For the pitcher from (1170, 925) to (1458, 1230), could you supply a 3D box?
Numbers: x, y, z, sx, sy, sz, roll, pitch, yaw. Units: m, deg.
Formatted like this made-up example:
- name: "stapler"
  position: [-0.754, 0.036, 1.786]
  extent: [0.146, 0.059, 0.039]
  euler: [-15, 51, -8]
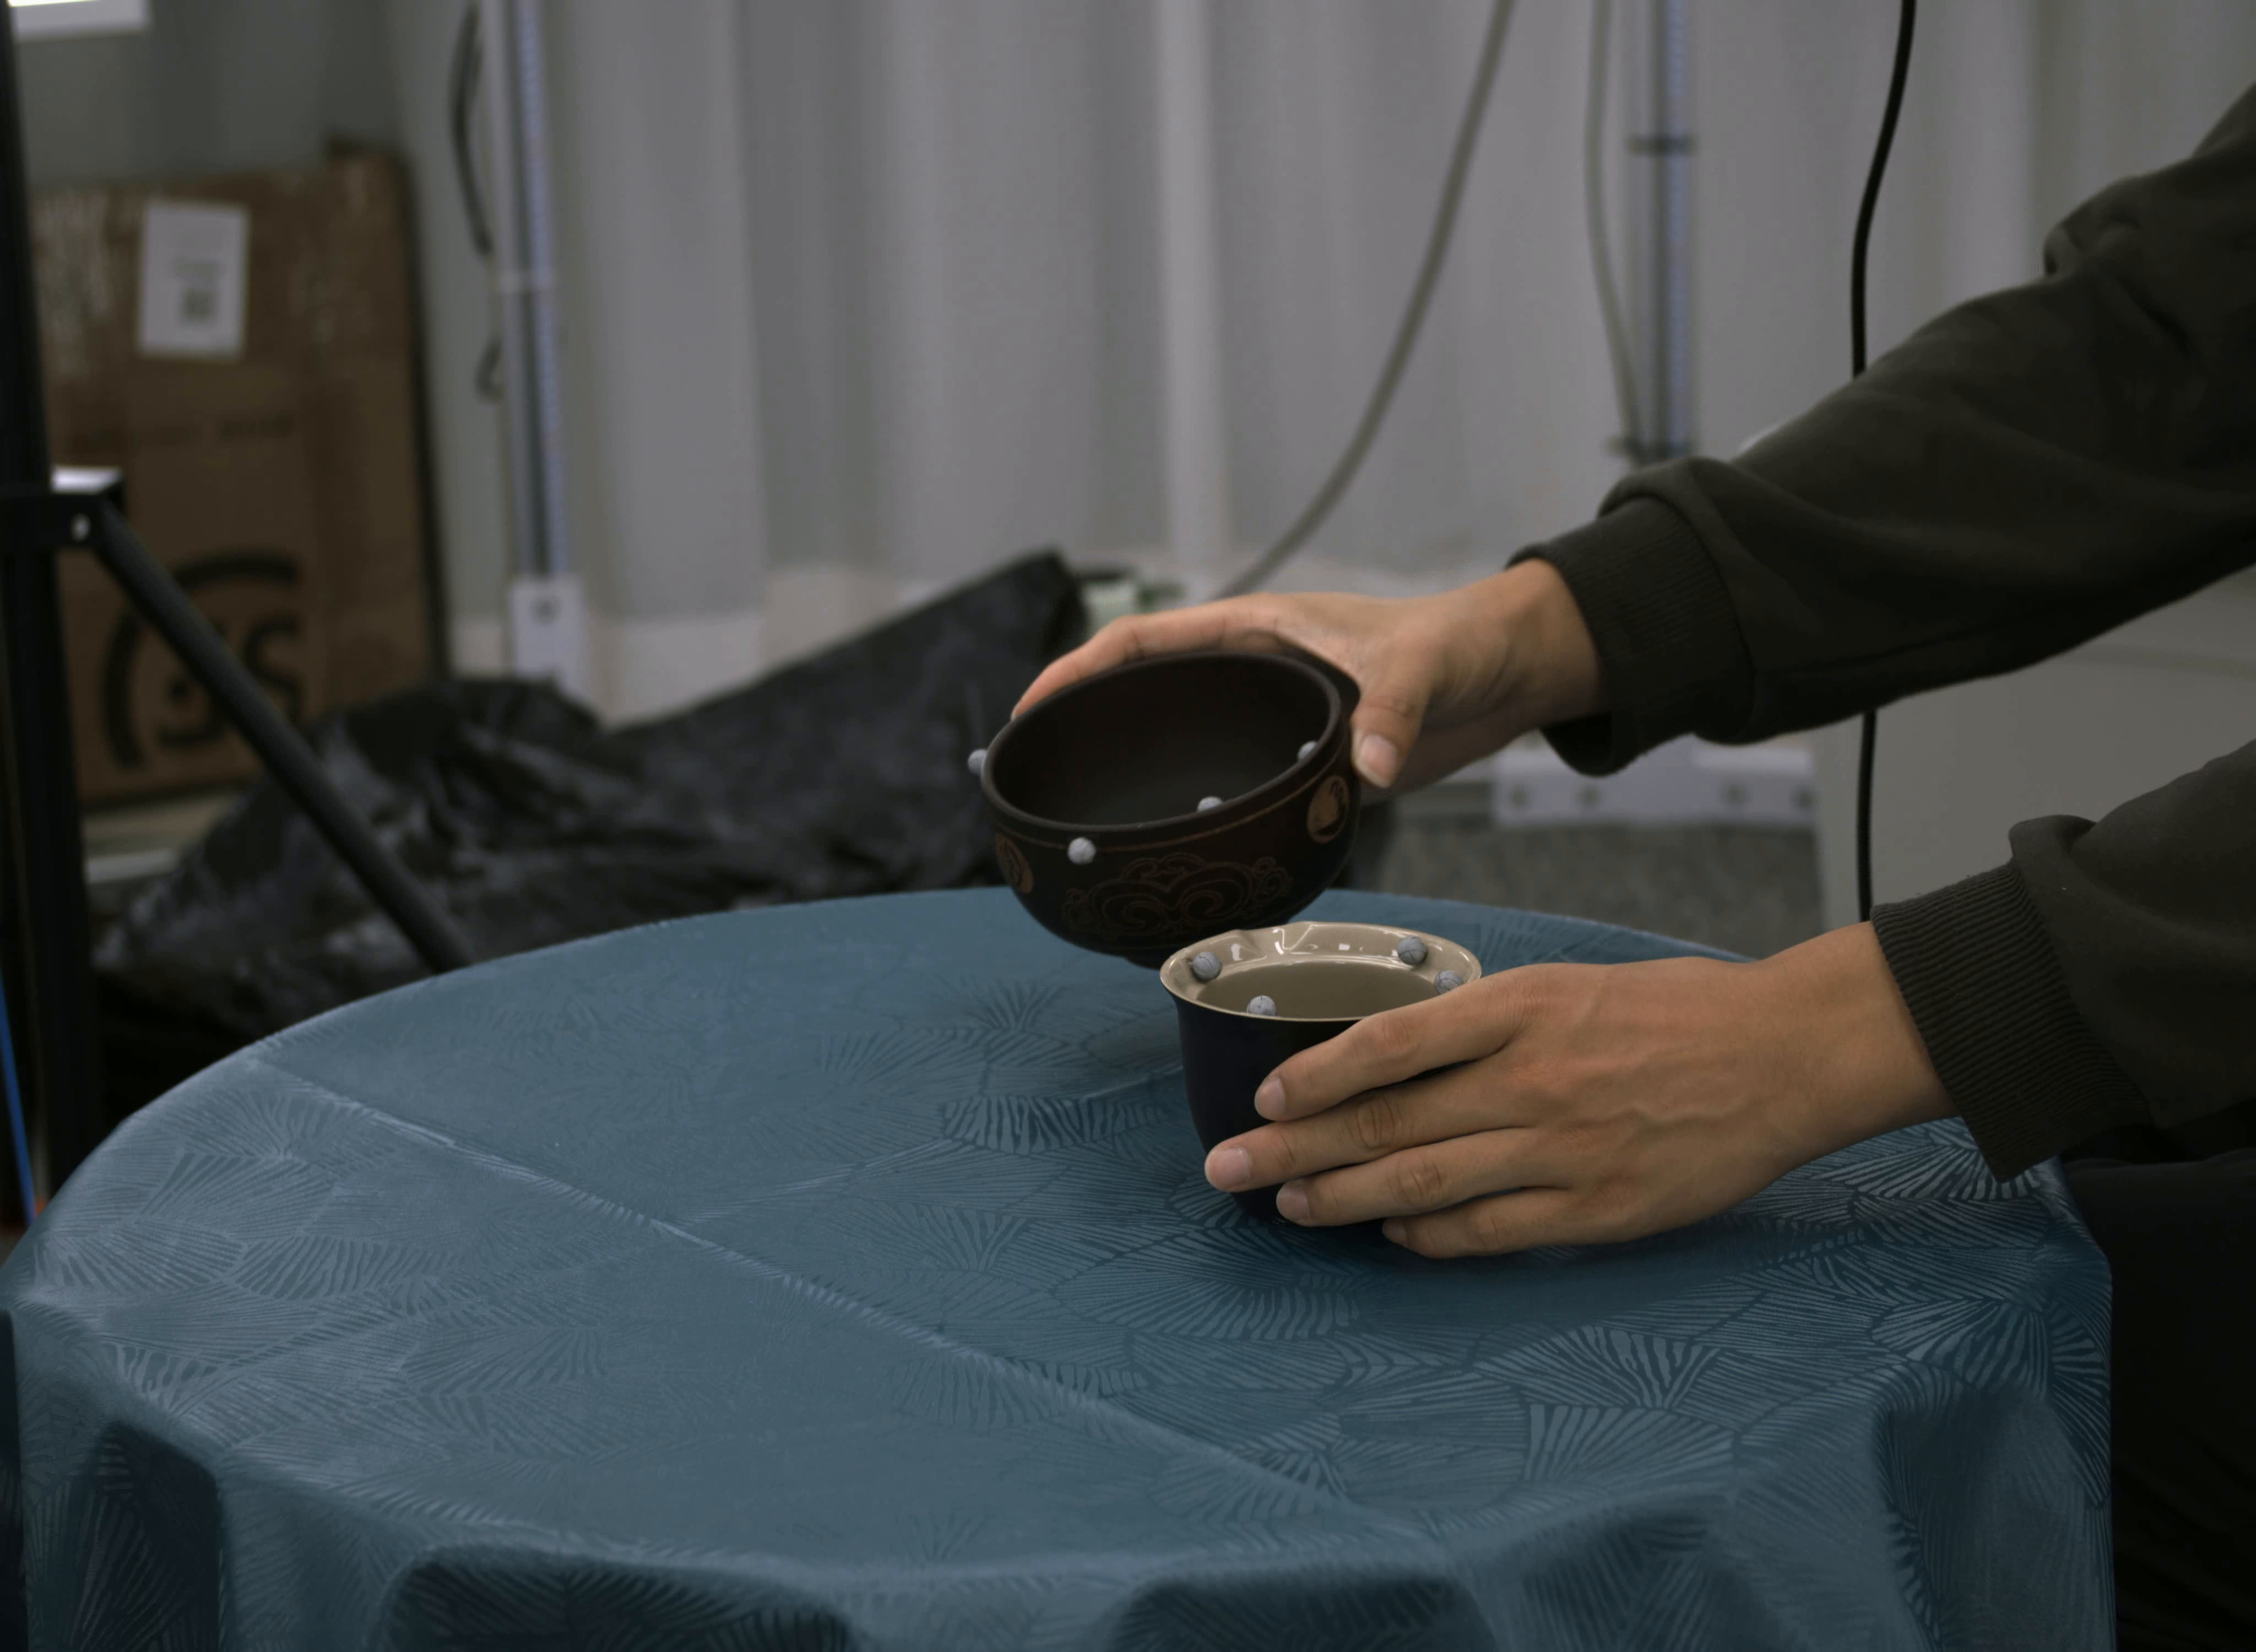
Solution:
- name: "pitcher"
  position: [0.054, 0.074, 1.538]
  extent: [0.083, 0.071, 0.097]
  euler: [-7, 14, -7]

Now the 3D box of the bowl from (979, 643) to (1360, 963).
- name: "bowl"
  position: [0.016, -0.001, 1.663]
  extent: [0.118, 0.069, 0.119]
  euler: [-11, 26, 4]
